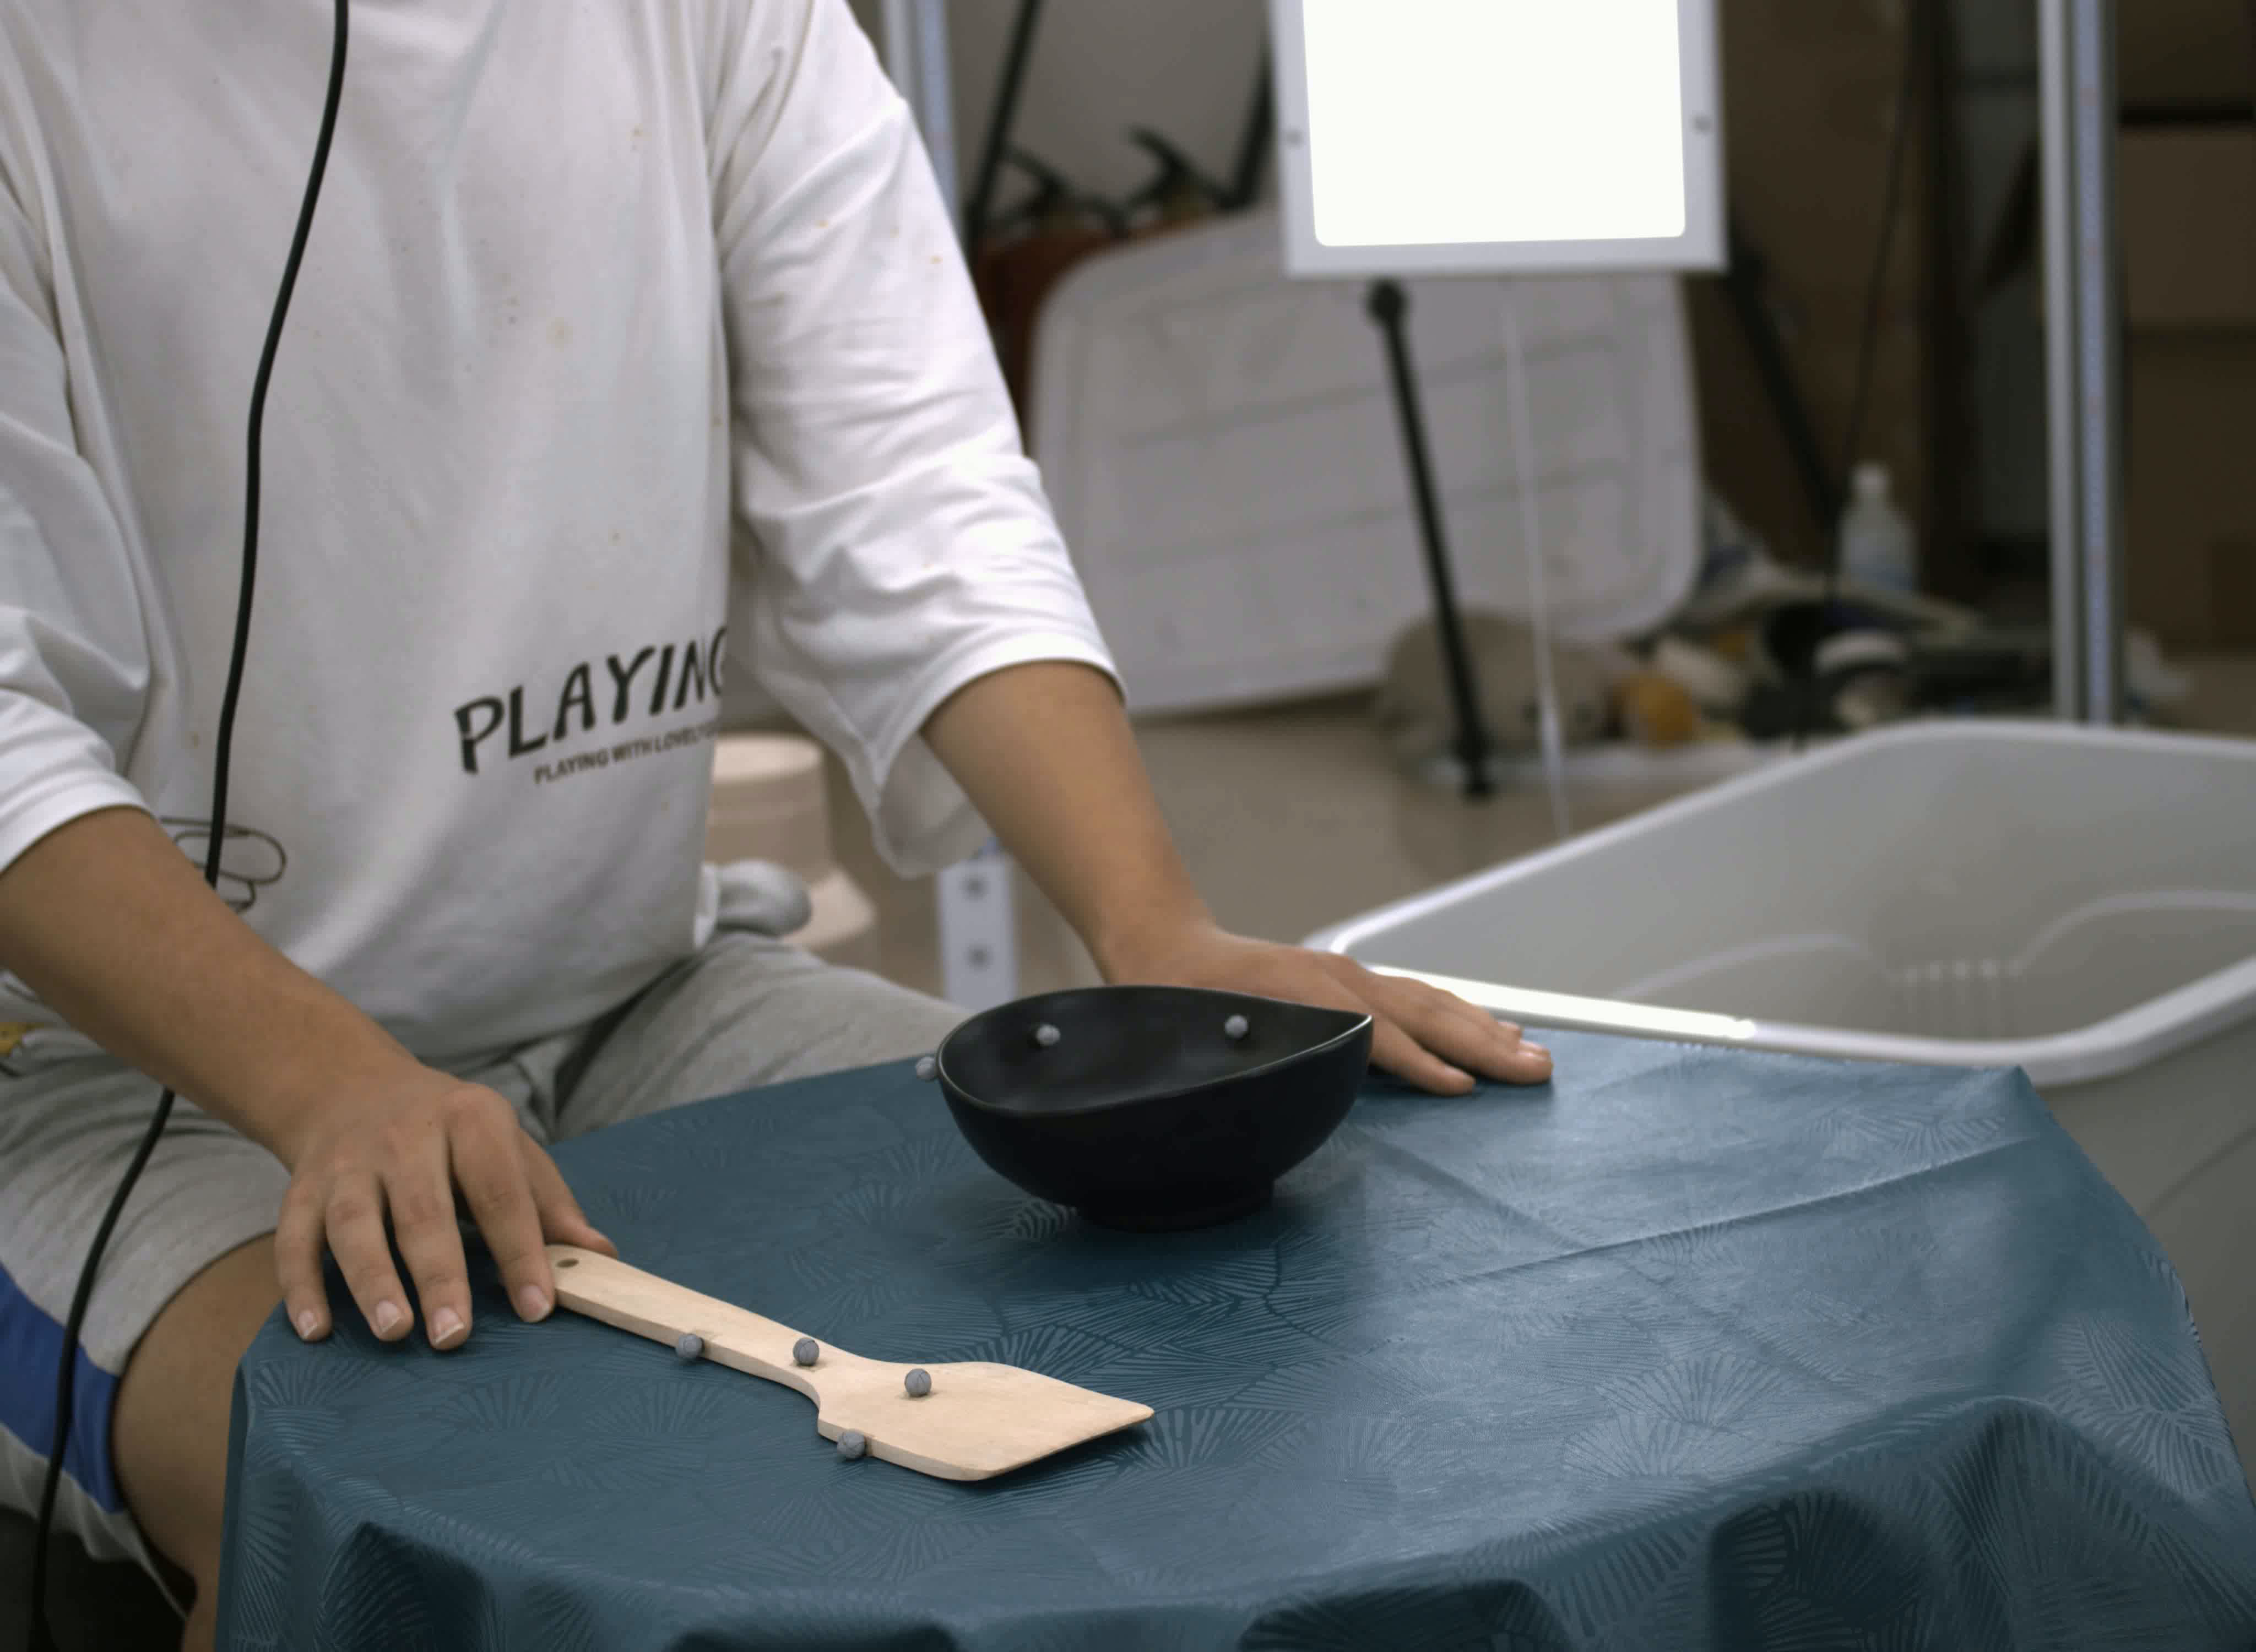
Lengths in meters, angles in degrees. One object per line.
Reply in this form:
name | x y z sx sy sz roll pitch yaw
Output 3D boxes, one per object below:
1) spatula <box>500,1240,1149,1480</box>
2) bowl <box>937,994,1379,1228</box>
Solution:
spatula | -0.111 0.166 1.753 0.070 0.011 0.299 -16 18 -37
bowl | 0.013 0.098 1.878 0.140 0.067 0.166 6 15 40
